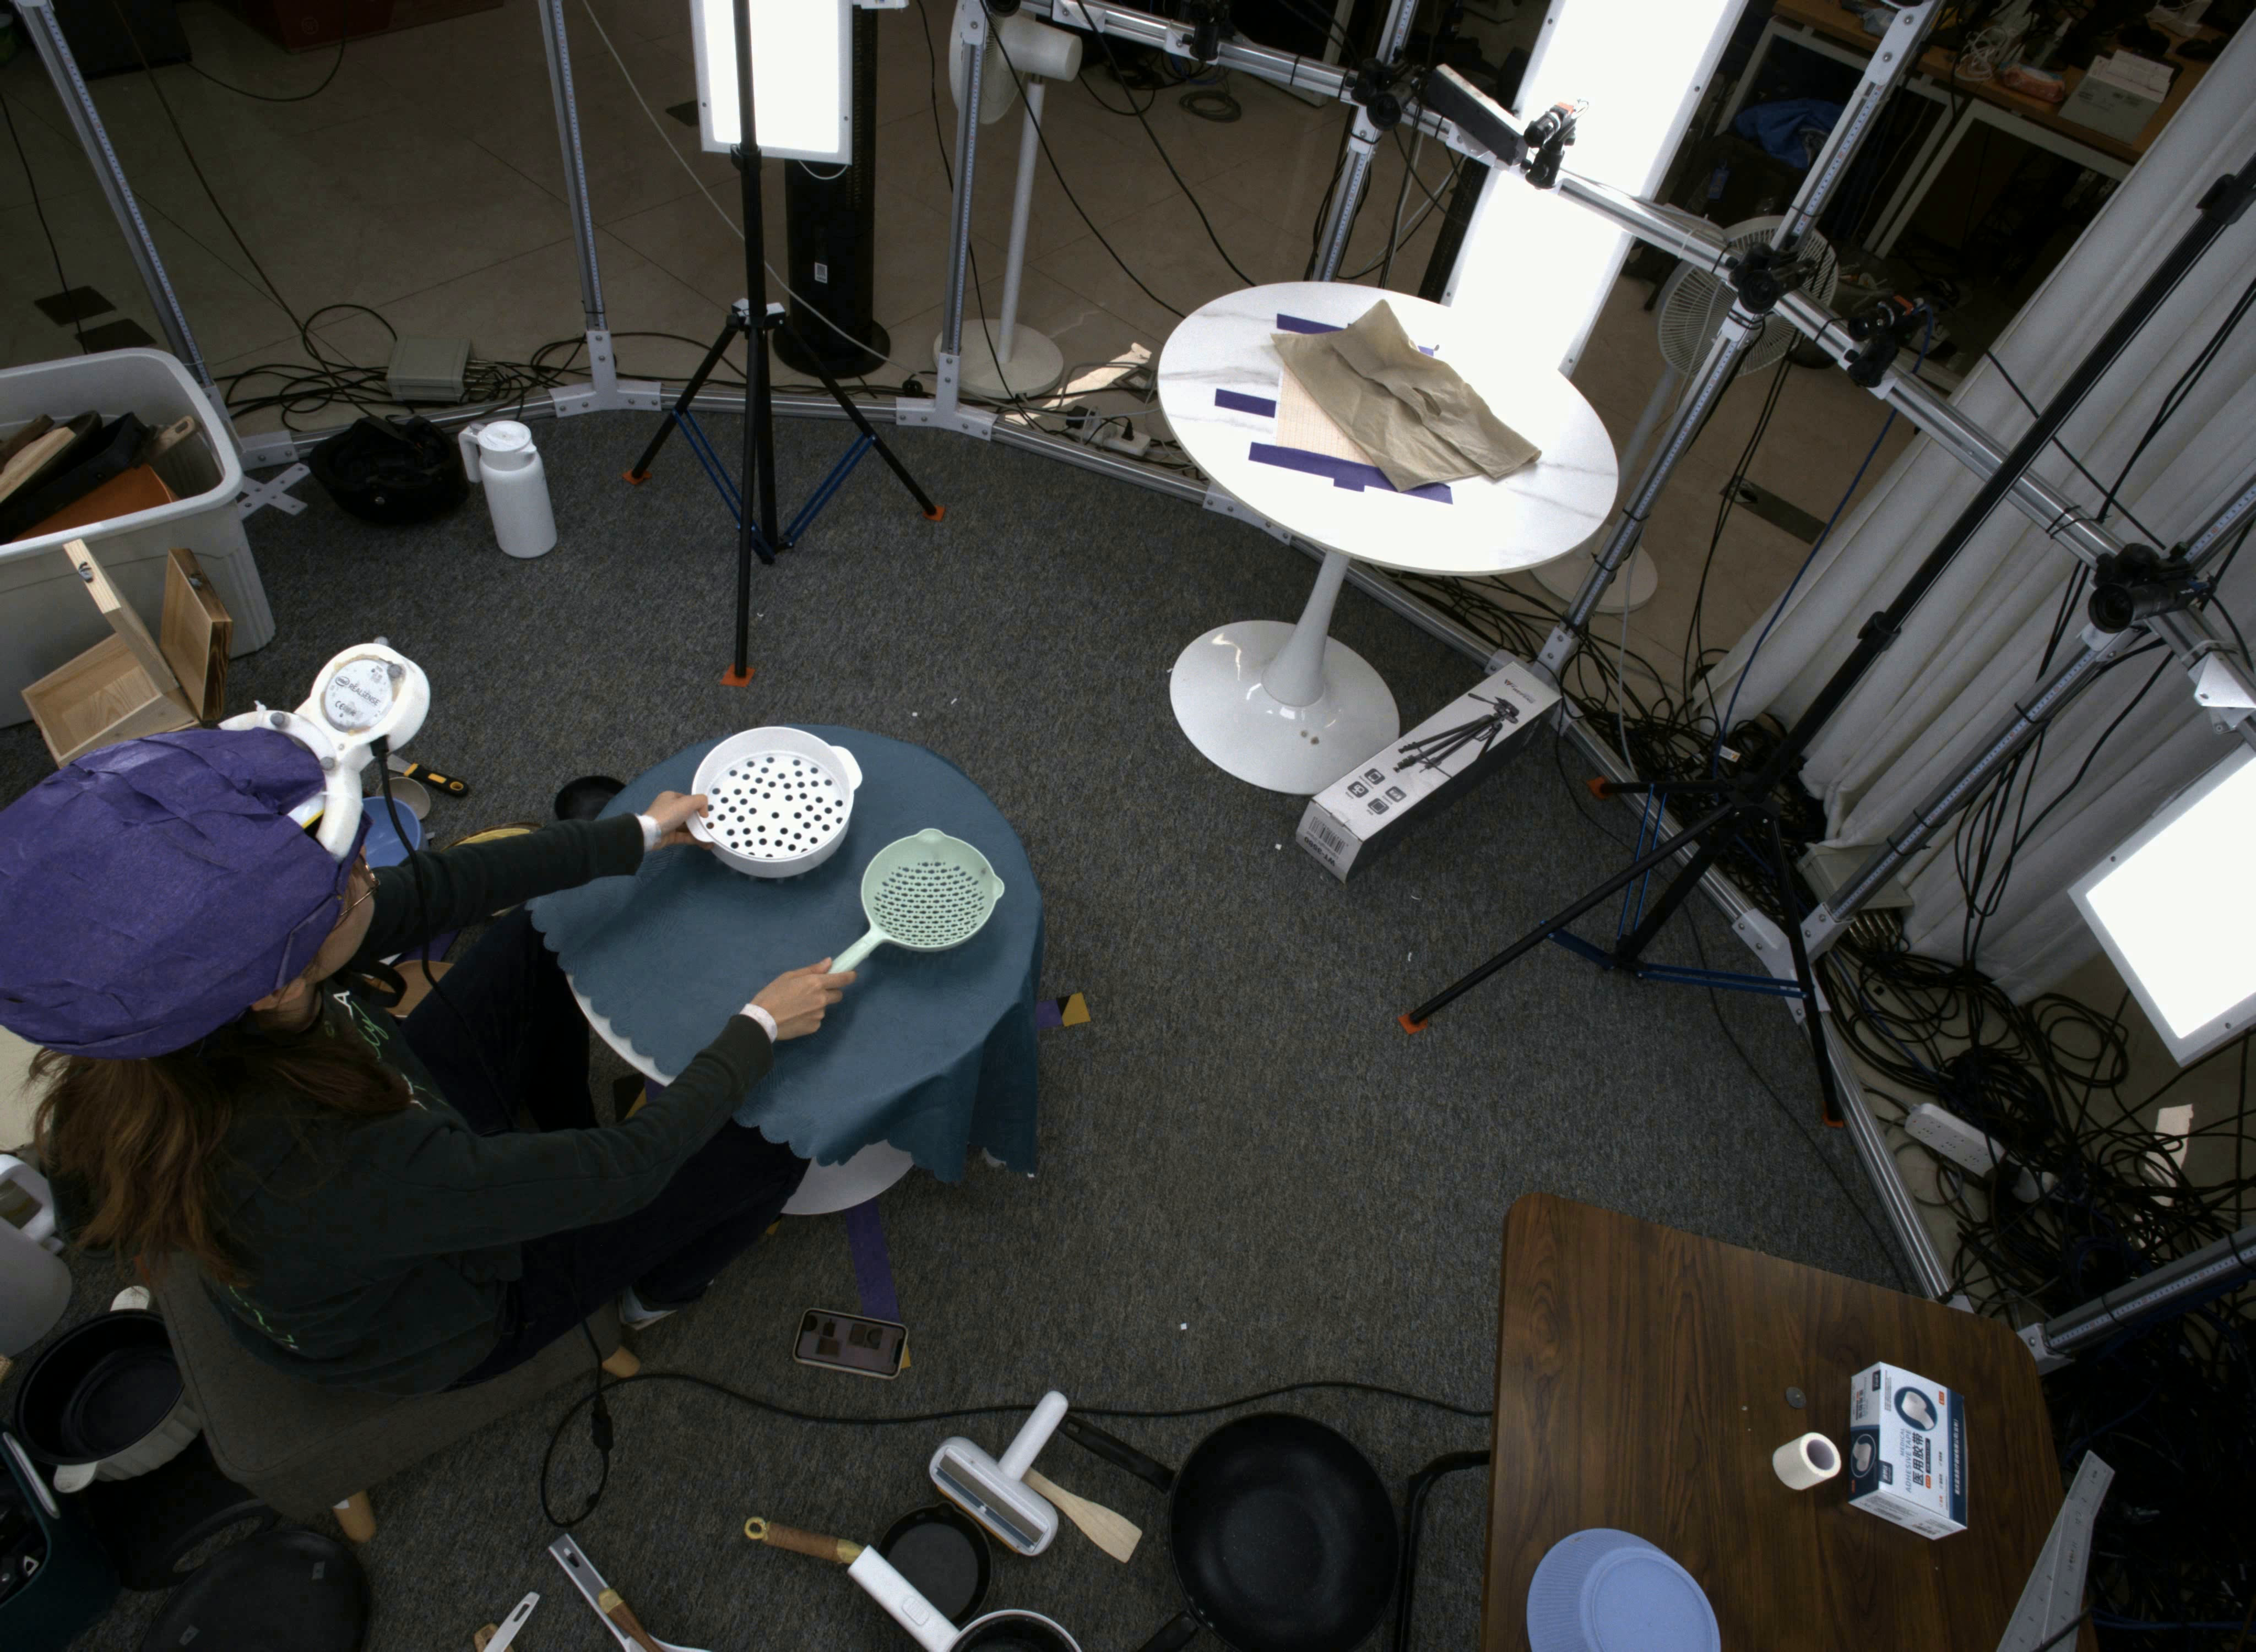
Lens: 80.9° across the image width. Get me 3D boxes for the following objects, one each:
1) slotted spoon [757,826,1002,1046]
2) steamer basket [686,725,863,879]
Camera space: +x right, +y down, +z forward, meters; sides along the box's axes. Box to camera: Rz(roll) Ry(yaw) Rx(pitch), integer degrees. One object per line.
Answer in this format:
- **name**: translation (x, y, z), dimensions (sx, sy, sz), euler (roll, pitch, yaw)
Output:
- **slotted spoon**: translation (-0.313, 0.139, 1.593), dimensions (0.165, 0.077, 0.359), euler (37, 49, 16)
- **steamer basket**: translation (-0.455, -0.031, 1.679), dimensions (0.231, 0.070, 0.198), euler (-24, 70, -24)
